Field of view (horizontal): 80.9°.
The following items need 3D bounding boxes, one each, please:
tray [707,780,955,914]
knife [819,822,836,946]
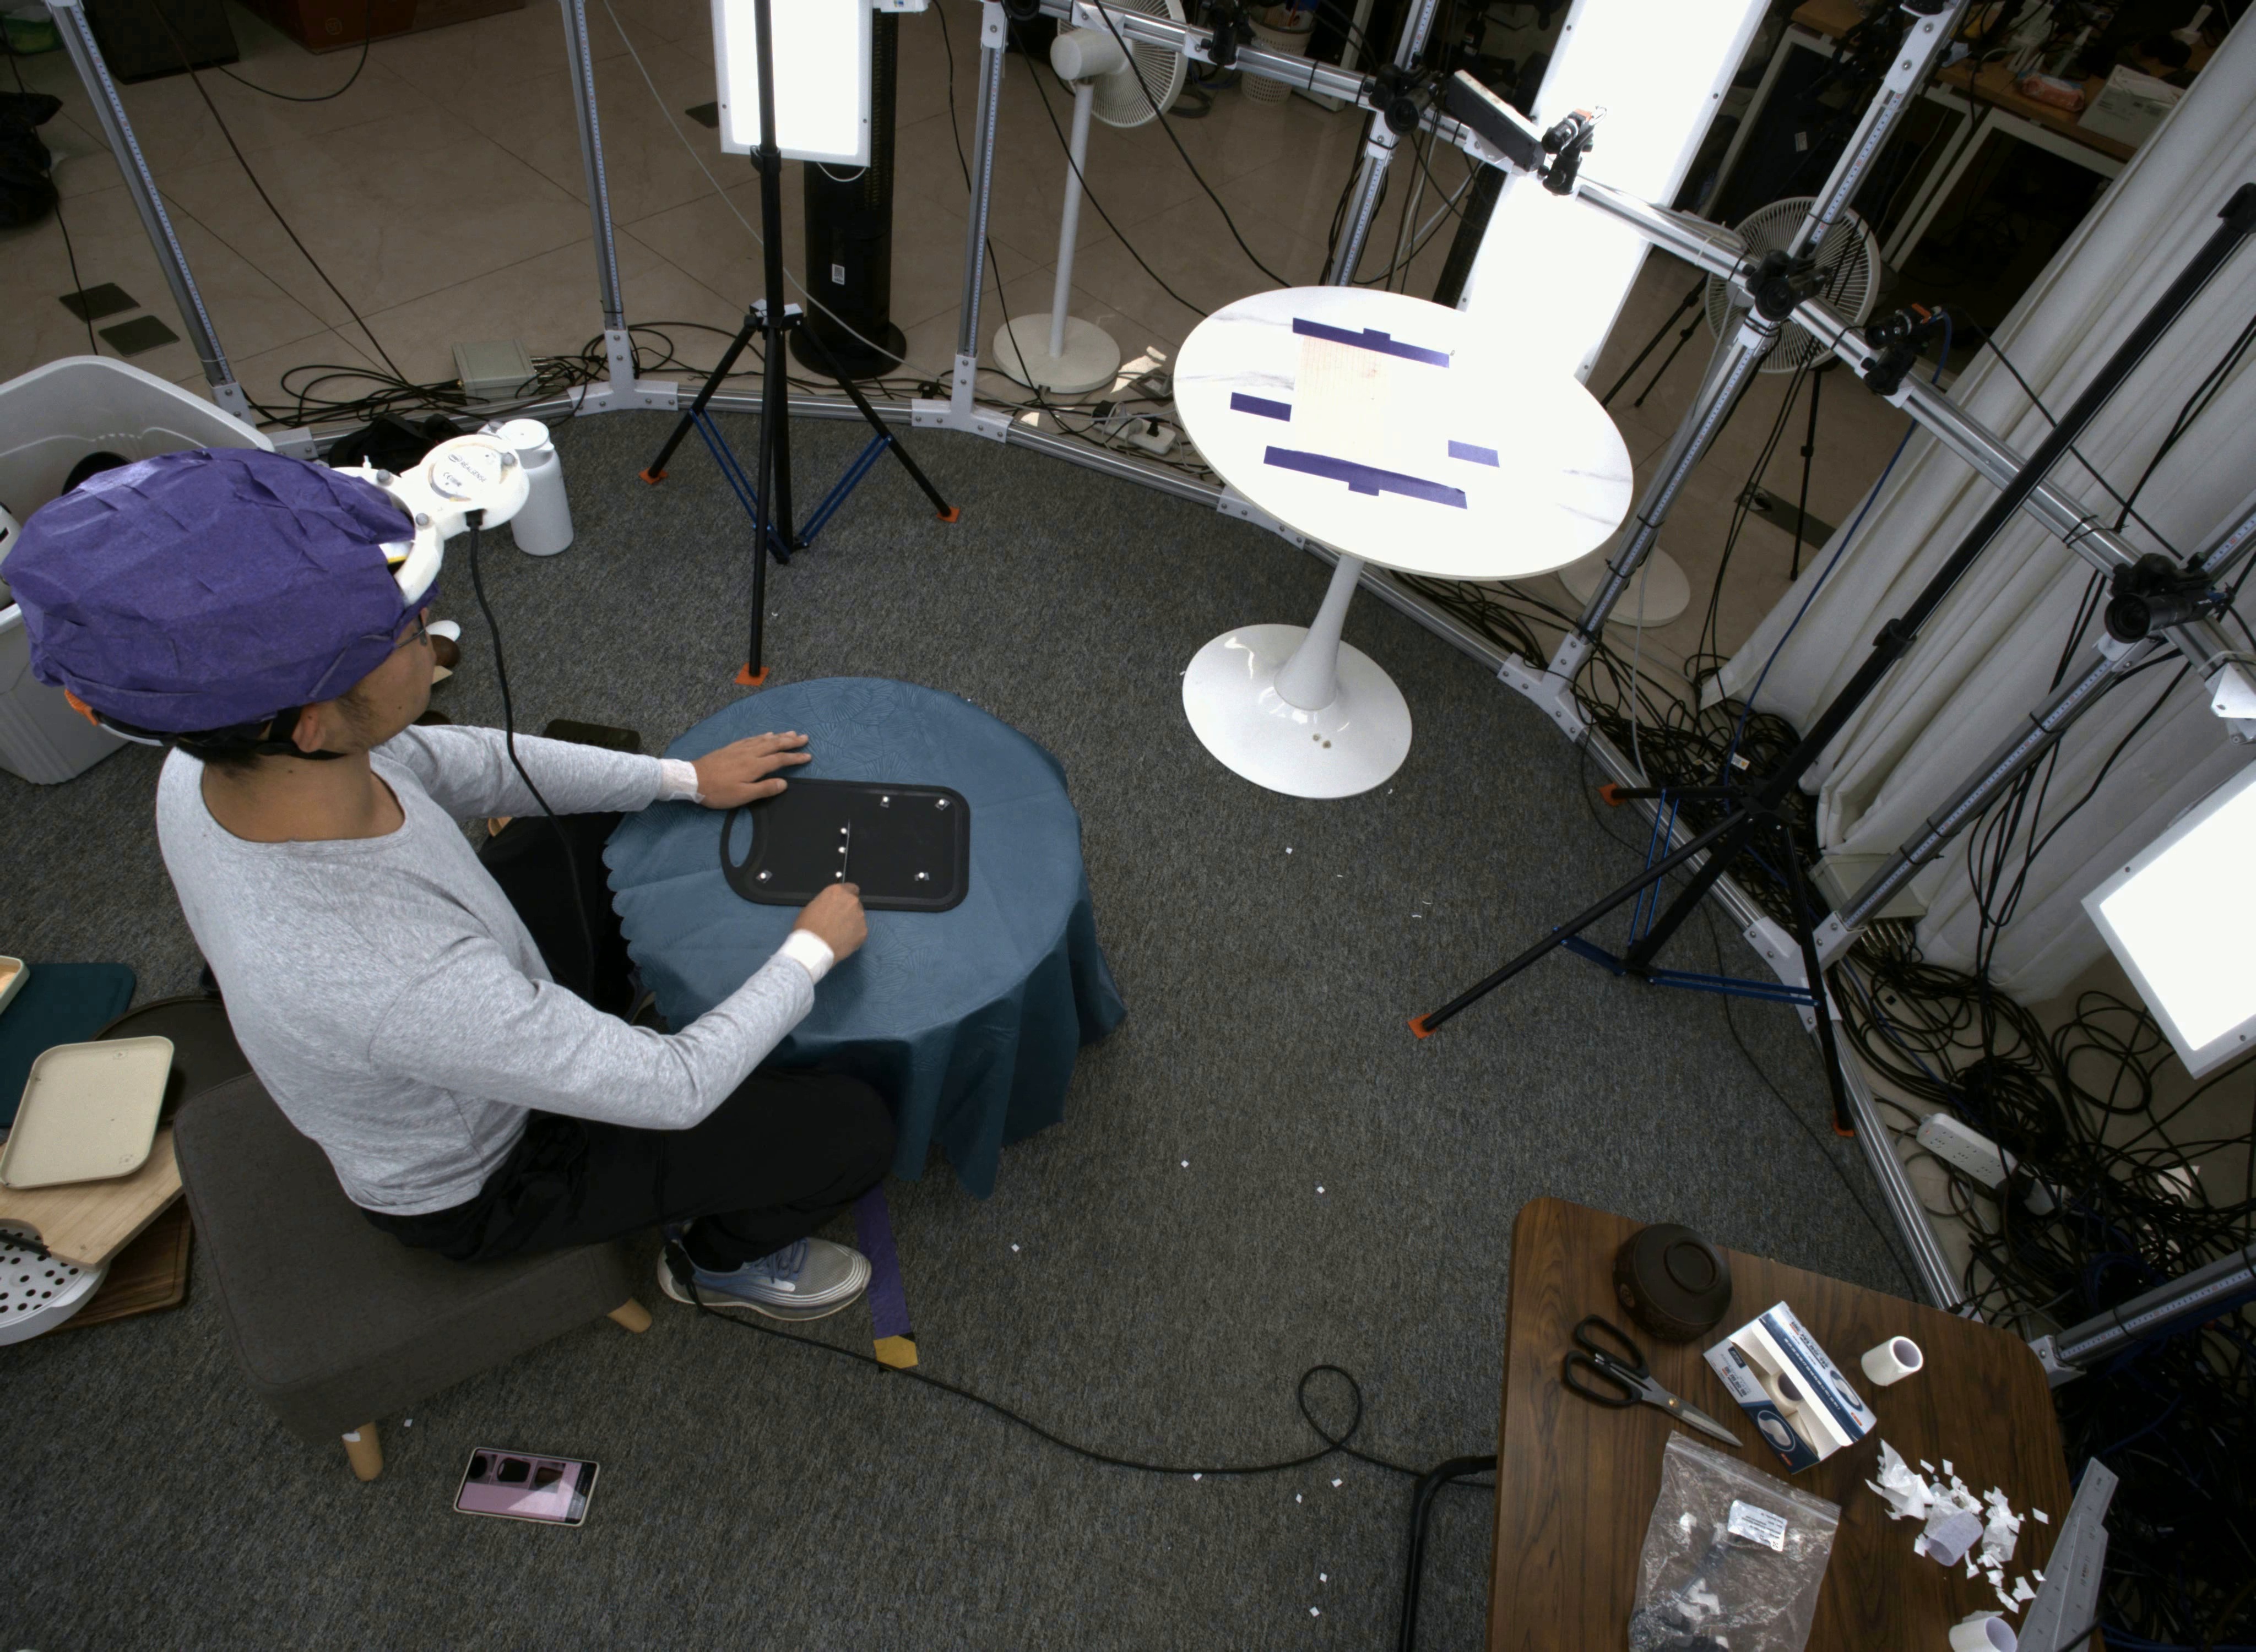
[{"bbox_3d":[-0.392,0.023,1.723,0.325,0.010,0.207,3,53,-12],"label":"tray"},{"bbox_3d":[-0.380,0.064,1.657,0.016,0.025,0.232,11,36,-17],"label":"knife"}]
